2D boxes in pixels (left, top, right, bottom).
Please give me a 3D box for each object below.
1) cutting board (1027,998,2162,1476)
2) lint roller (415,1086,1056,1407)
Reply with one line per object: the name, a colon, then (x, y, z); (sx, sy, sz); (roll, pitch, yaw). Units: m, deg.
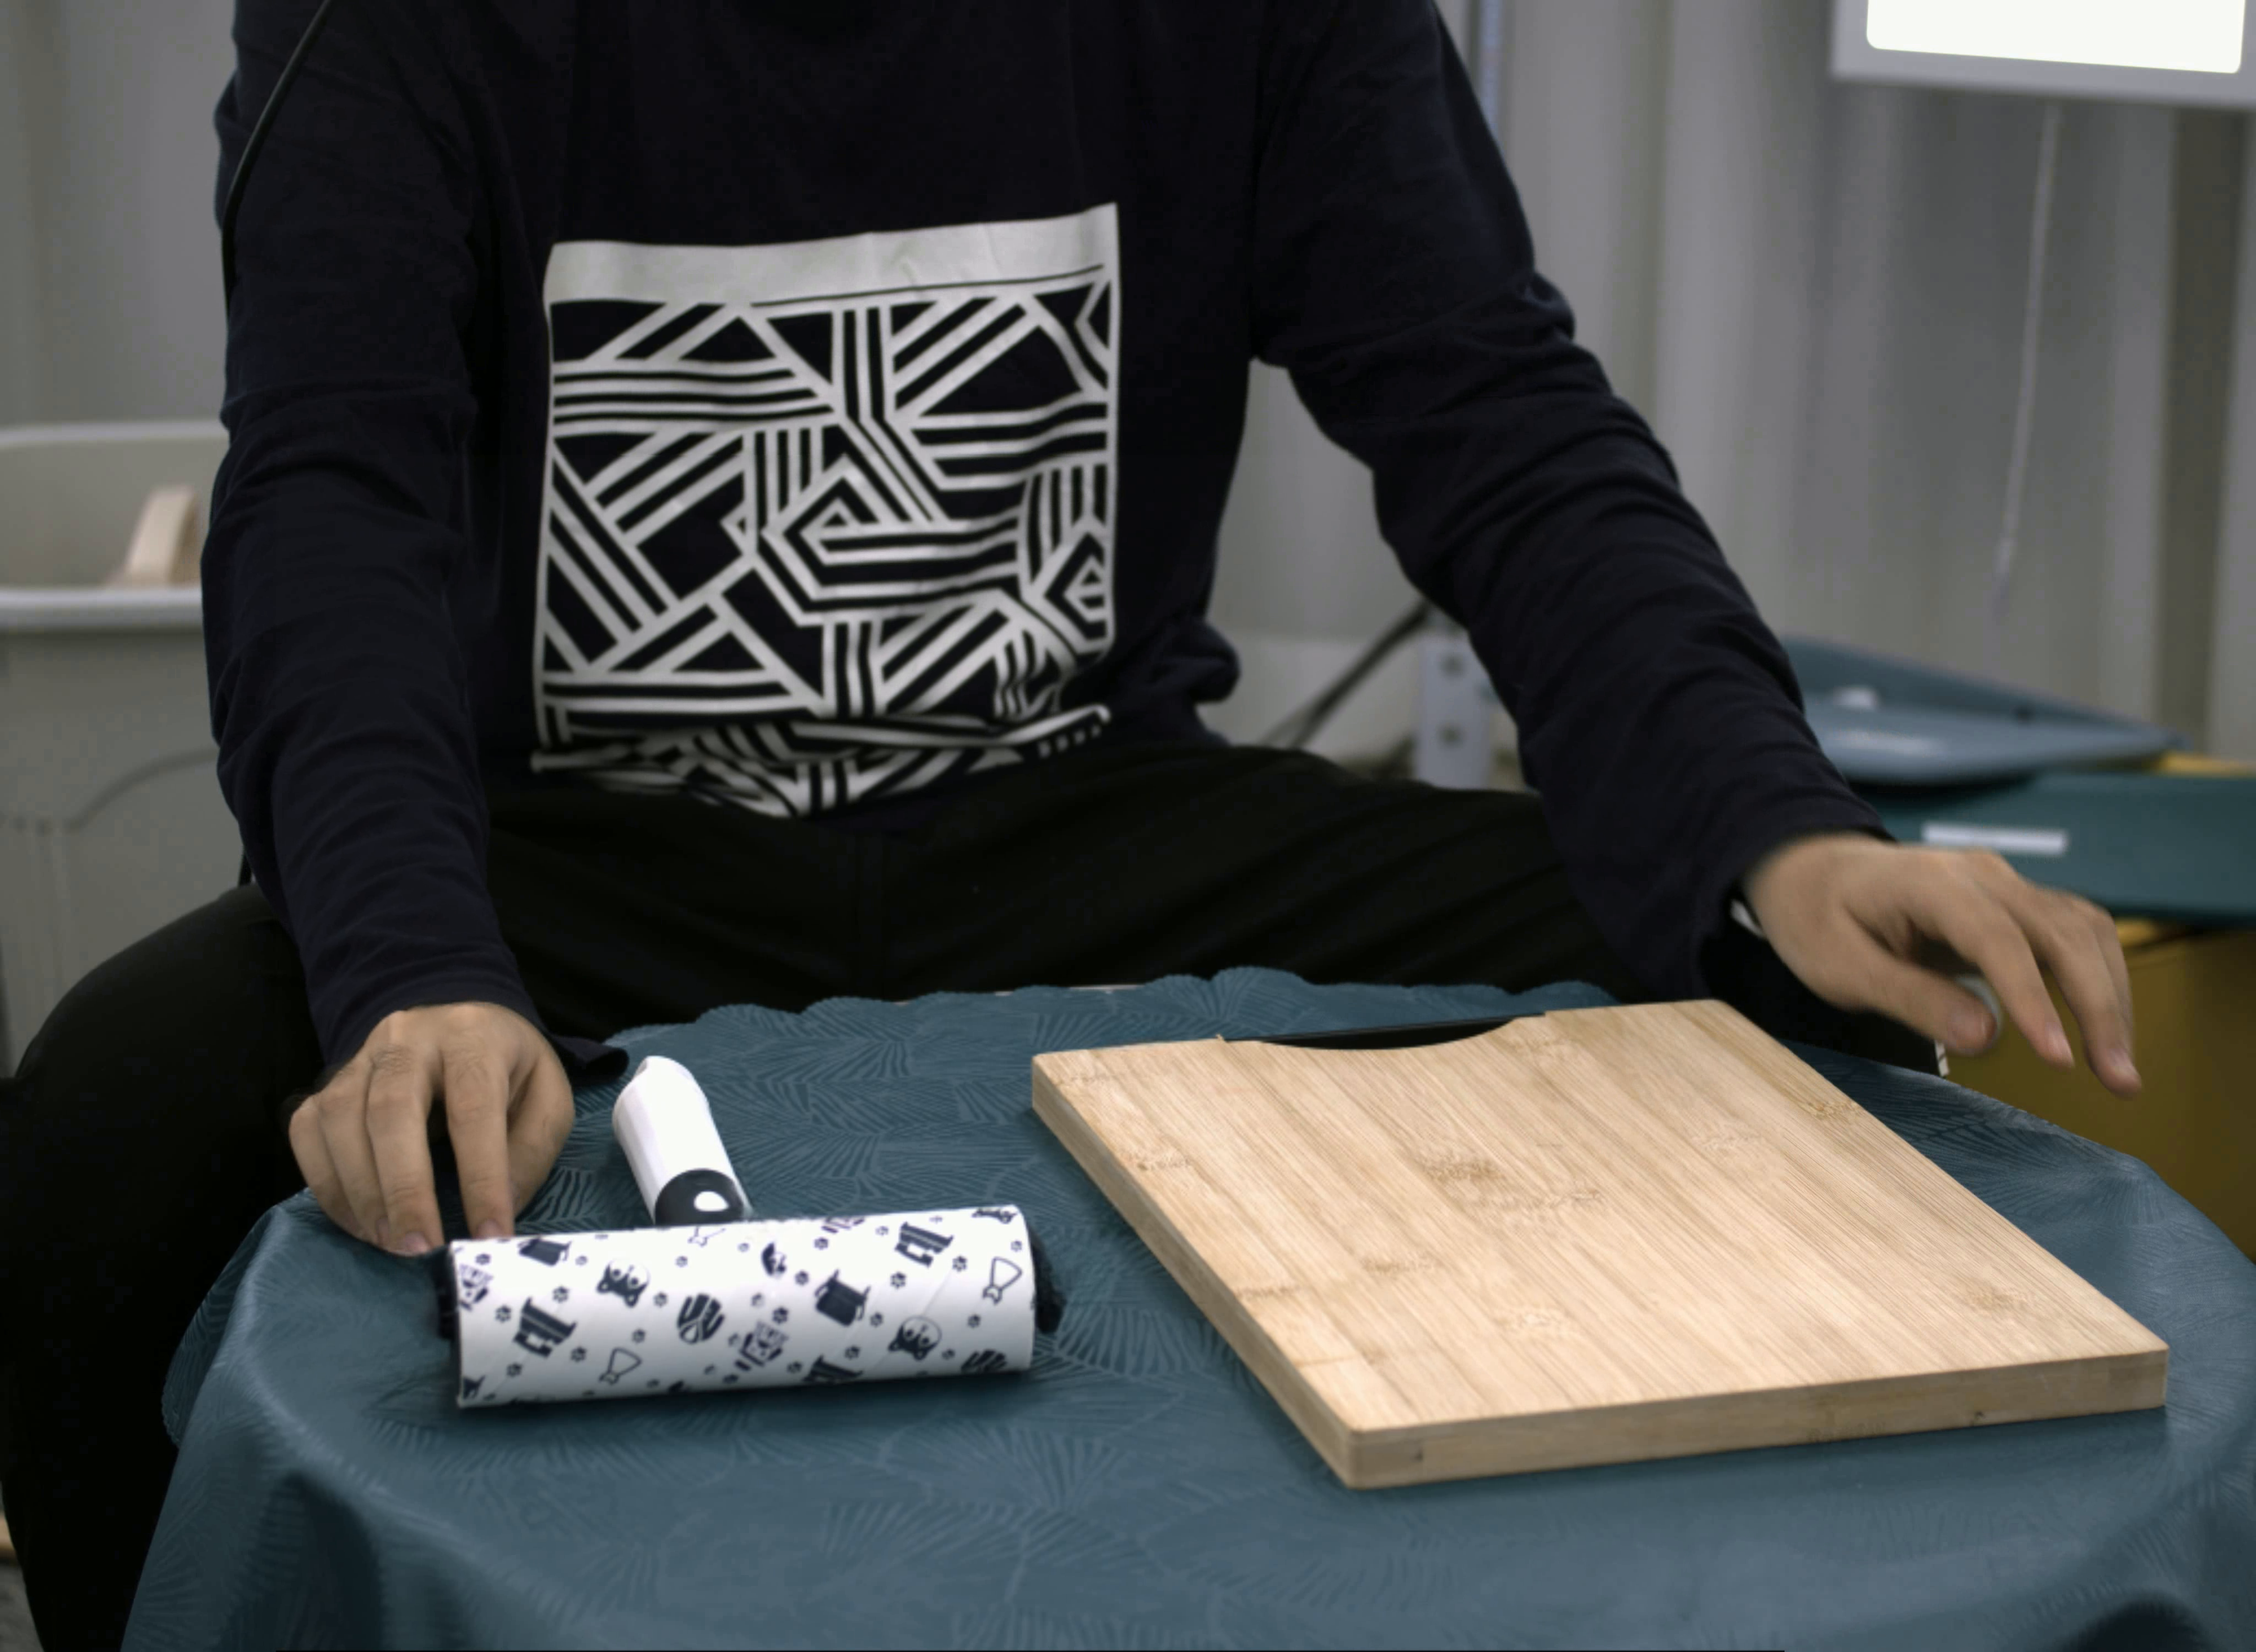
cutting board: (0.126, 0.117, 1.584); (0.251, 0.024, 0.345); (-3, 16, -16)
lint roller: (-0.129, 0.110, 1.553); (0.176, 0.051, 0.245); (-4, 14, -12)
